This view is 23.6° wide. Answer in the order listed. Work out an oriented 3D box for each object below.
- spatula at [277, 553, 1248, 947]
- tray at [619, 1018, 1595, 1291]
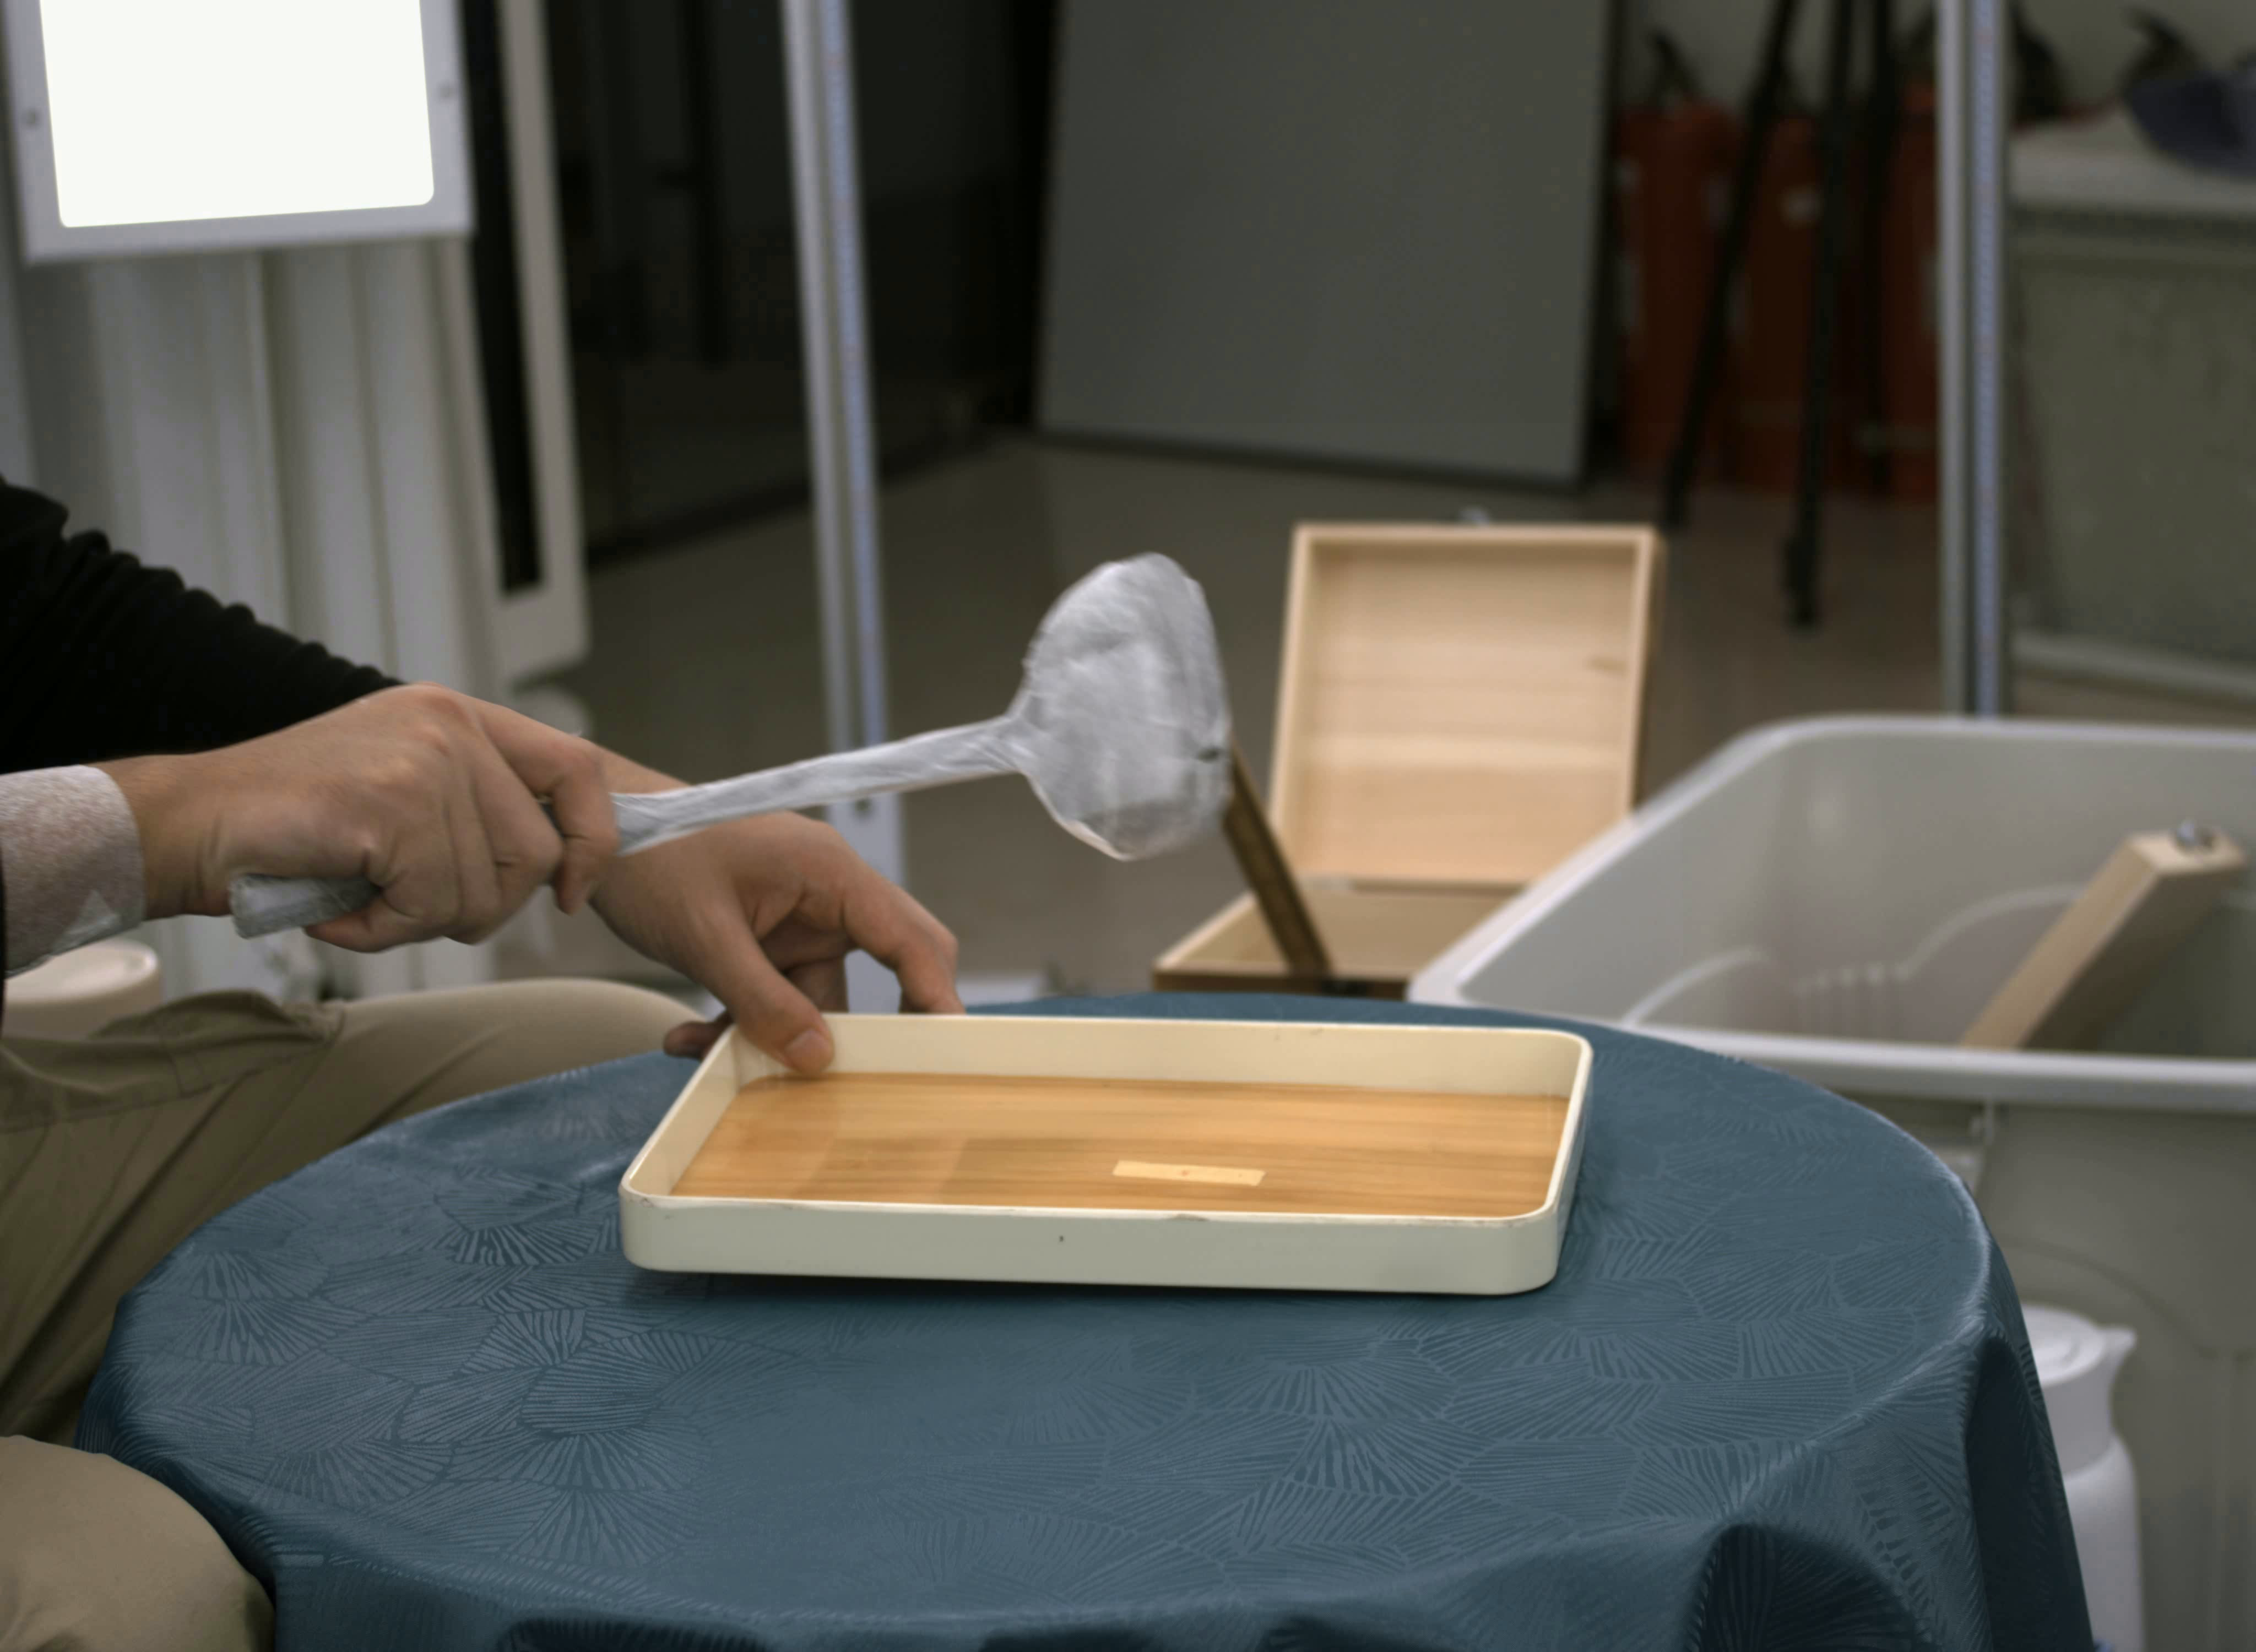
[{"bbox_3d":[-0.105,-0.010,1.671,0.357,0.100,0.045,-13,6,-28],"label":"spatula"},{"bbox_3d":[-0.002,0.105,1.751,0.298,0.028,0.191,0,16,11],"label":"tray"}]
